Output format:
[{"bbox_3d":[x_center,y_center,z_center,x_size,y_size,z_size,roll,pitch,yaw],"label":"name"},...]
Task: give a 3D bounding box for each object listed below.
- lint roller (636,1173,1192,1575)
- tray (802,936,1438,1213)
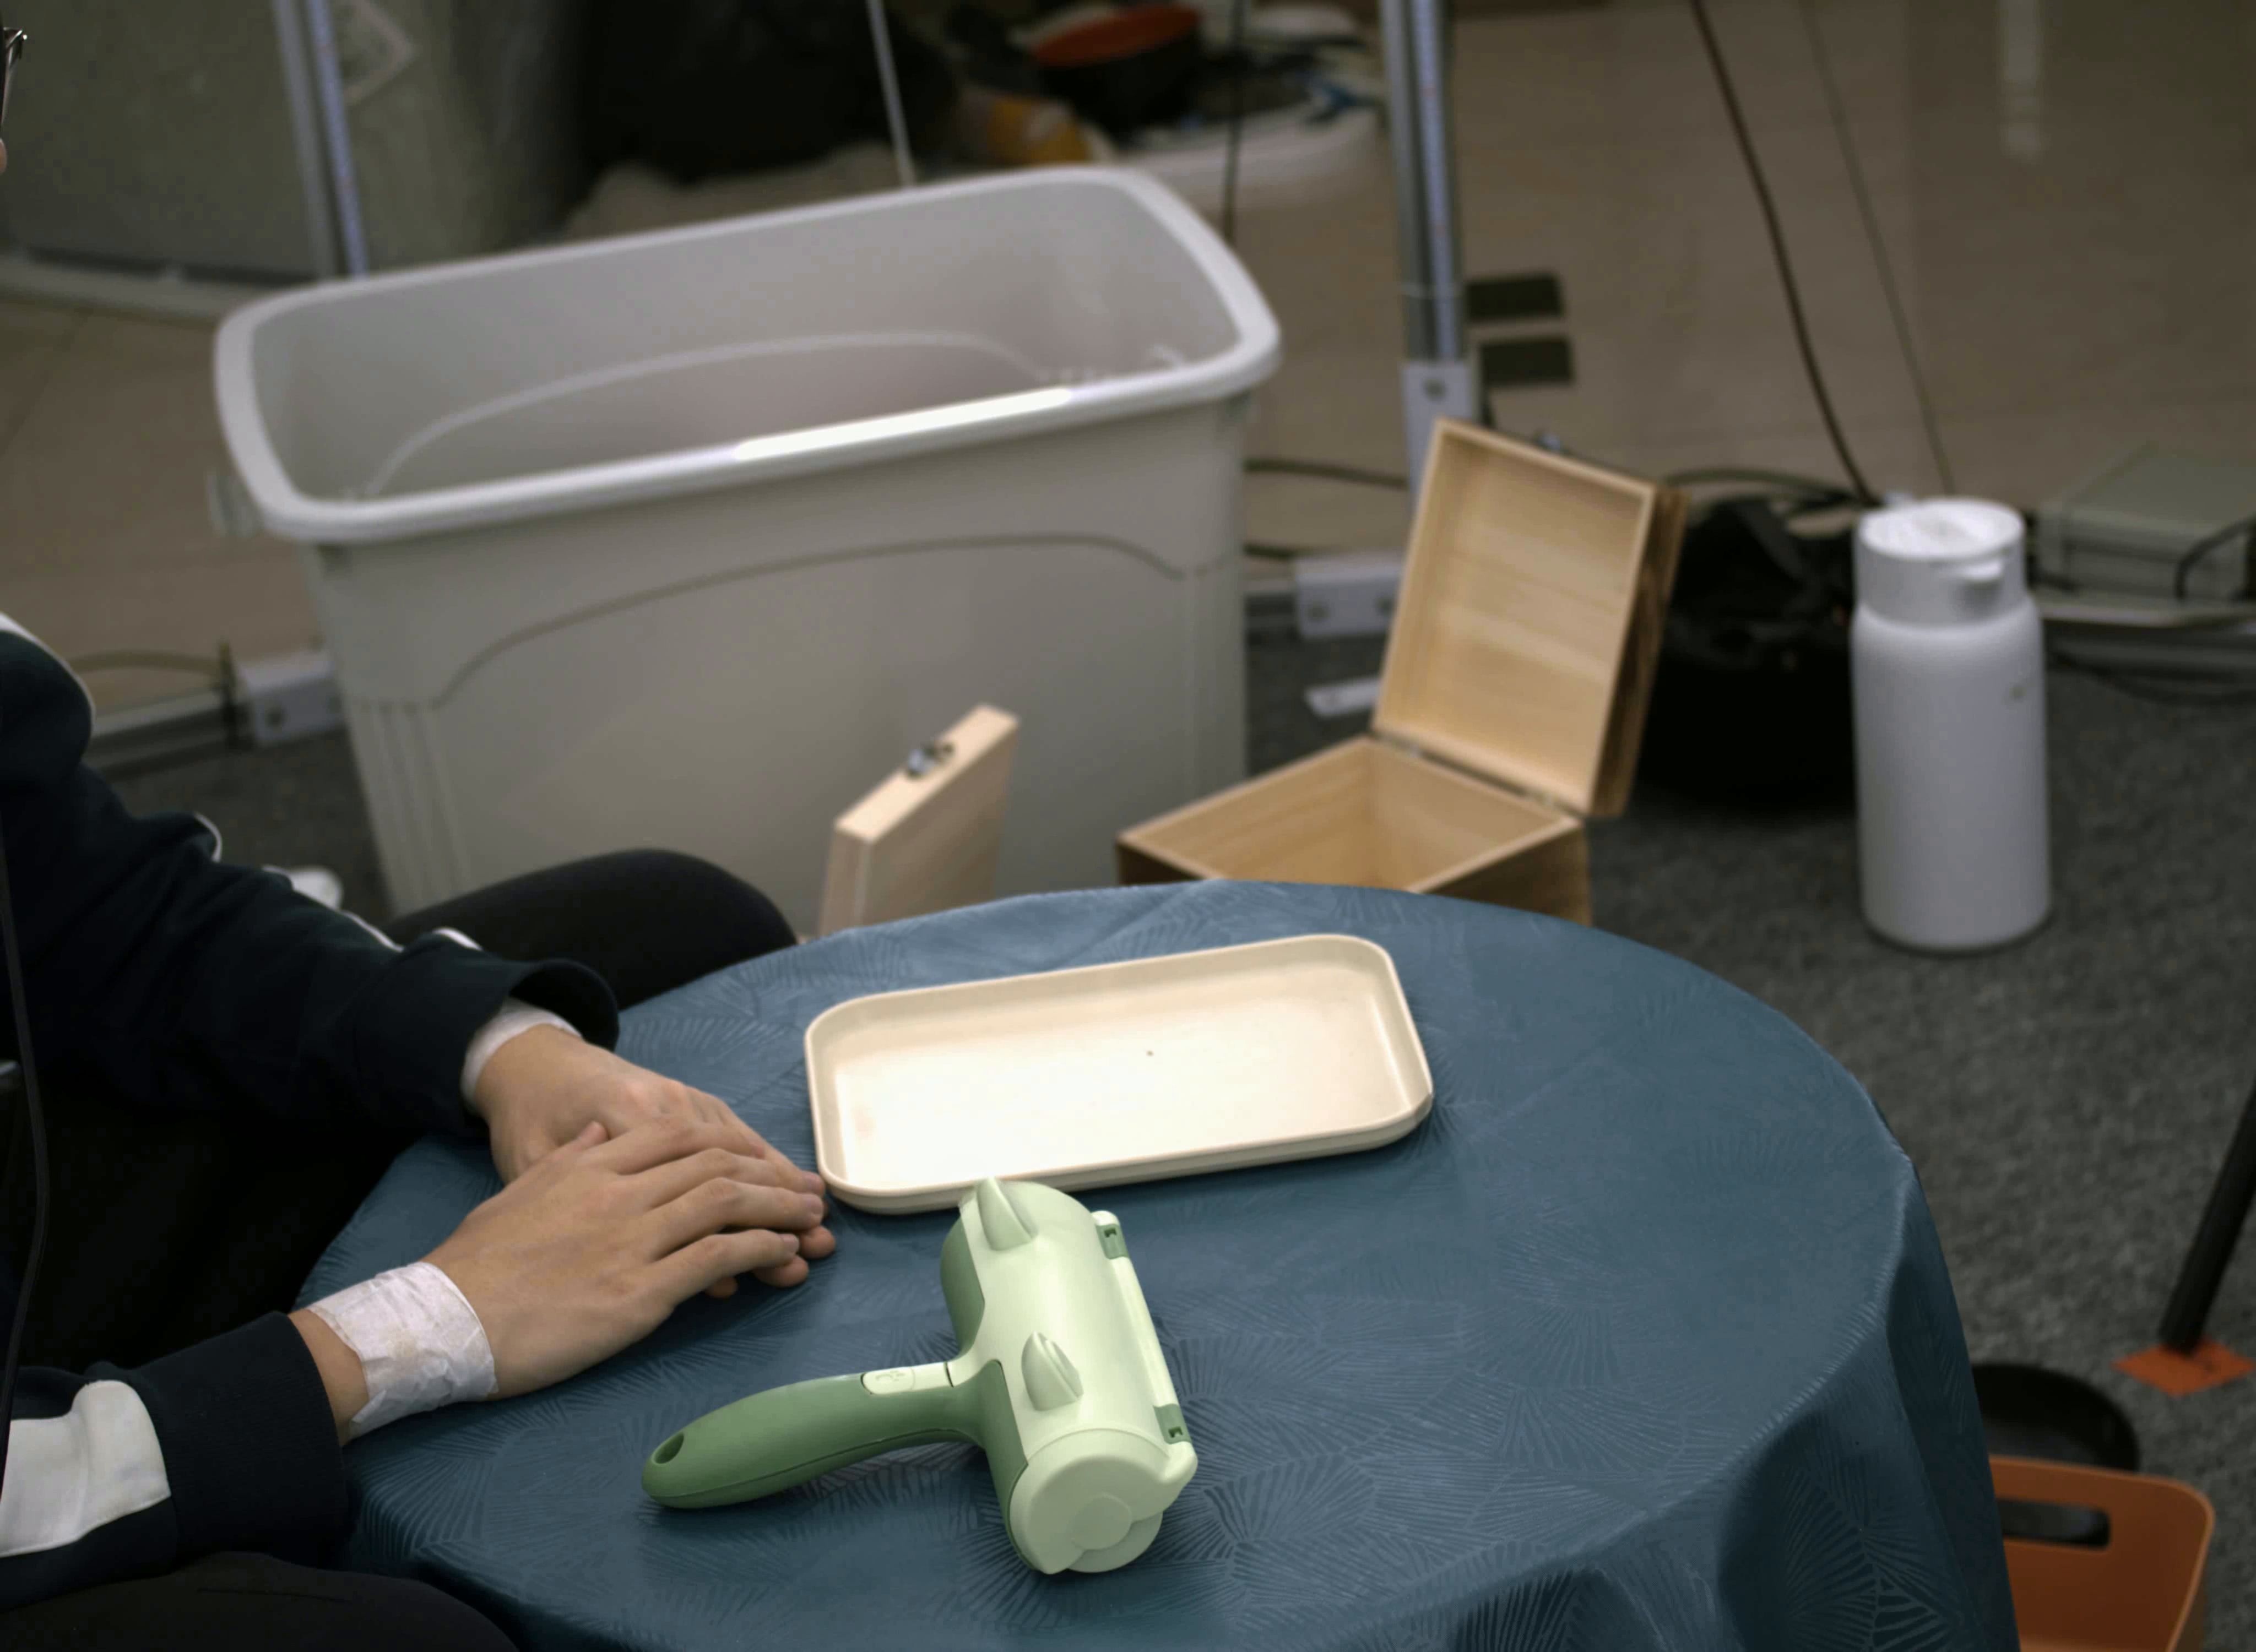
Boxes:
[{"bbox_3d":[-0.081,0.188,1.966,0.183,0.083,0.196,-5,25,-7],"label":"lint roller"},{"bbox_3d":[-0.005,0.097,2.213,0.239,0.018,0.169,-8,24,-3],"label":"tray"}]
